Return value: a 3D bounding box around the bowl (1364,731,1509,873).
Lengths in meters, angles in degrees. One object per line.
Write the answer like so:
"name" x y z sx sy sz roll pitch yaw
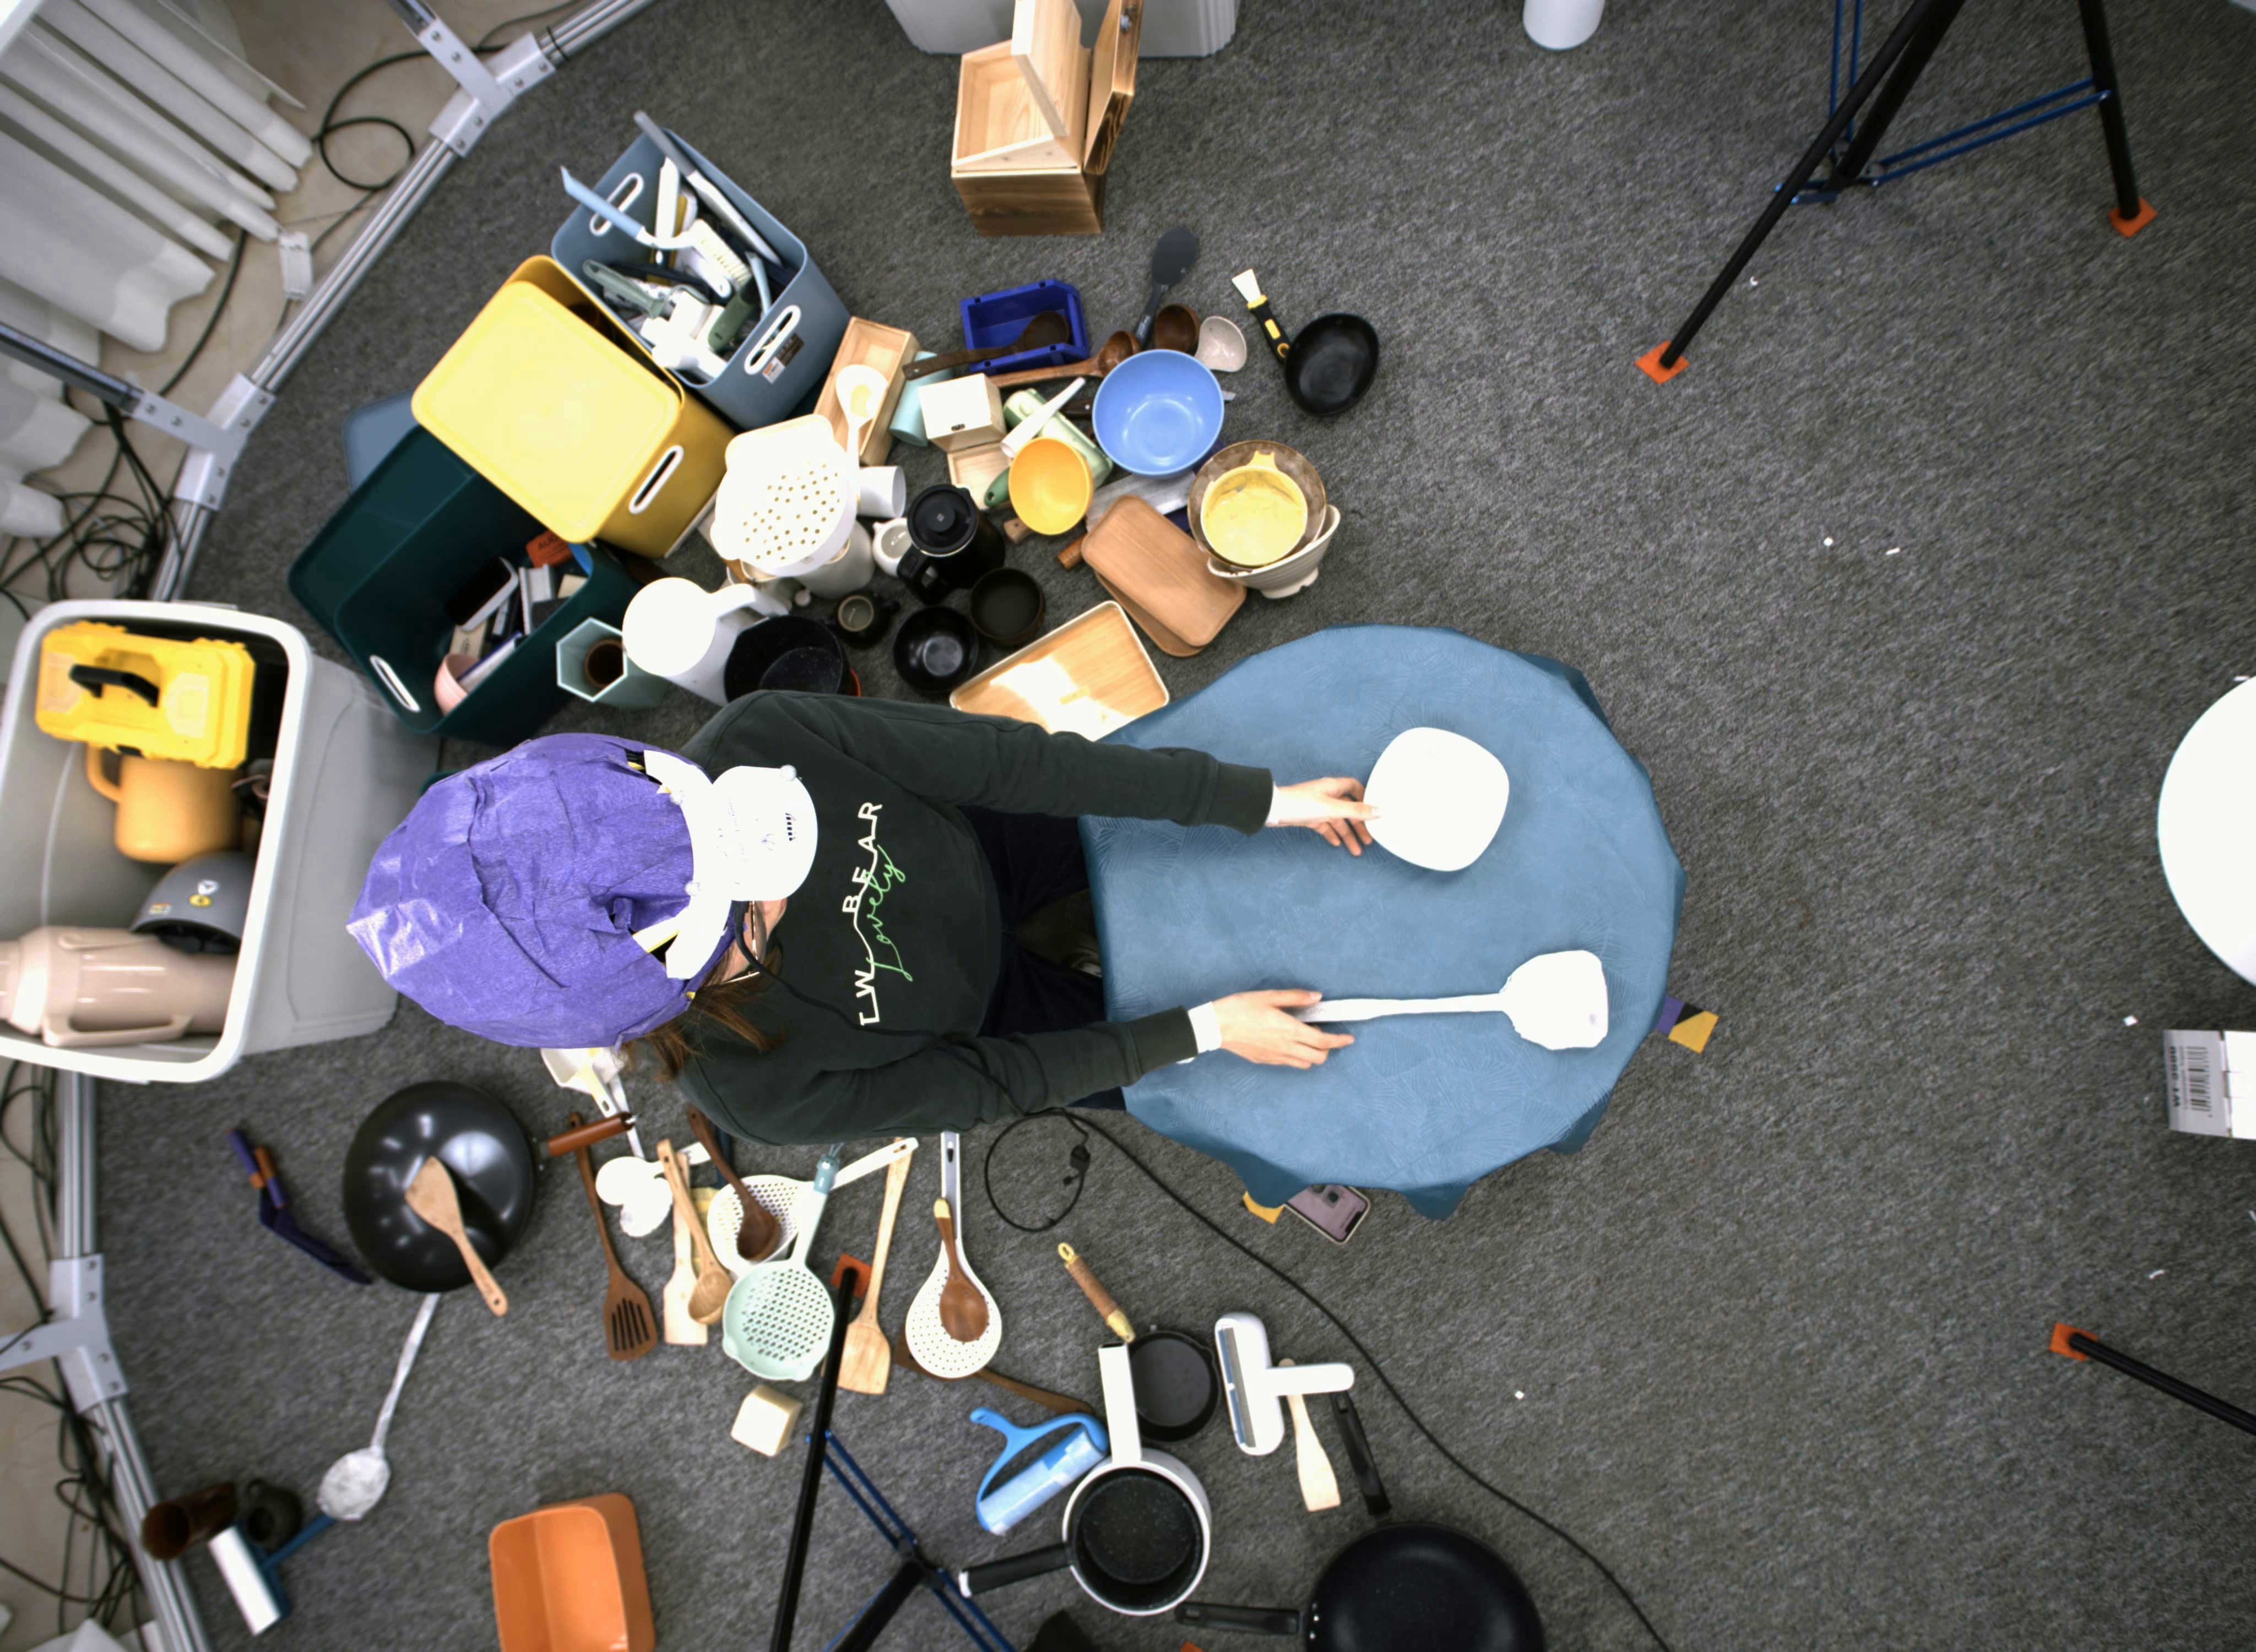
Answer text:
"bowl" 0.319 -0.023 1.434 0.152 0.059 0.150 -1 84 8

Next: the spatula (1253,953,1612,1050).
"spatula" 0.309 0.183 1.430 0.366 0.045 0.098 -3 87 10
